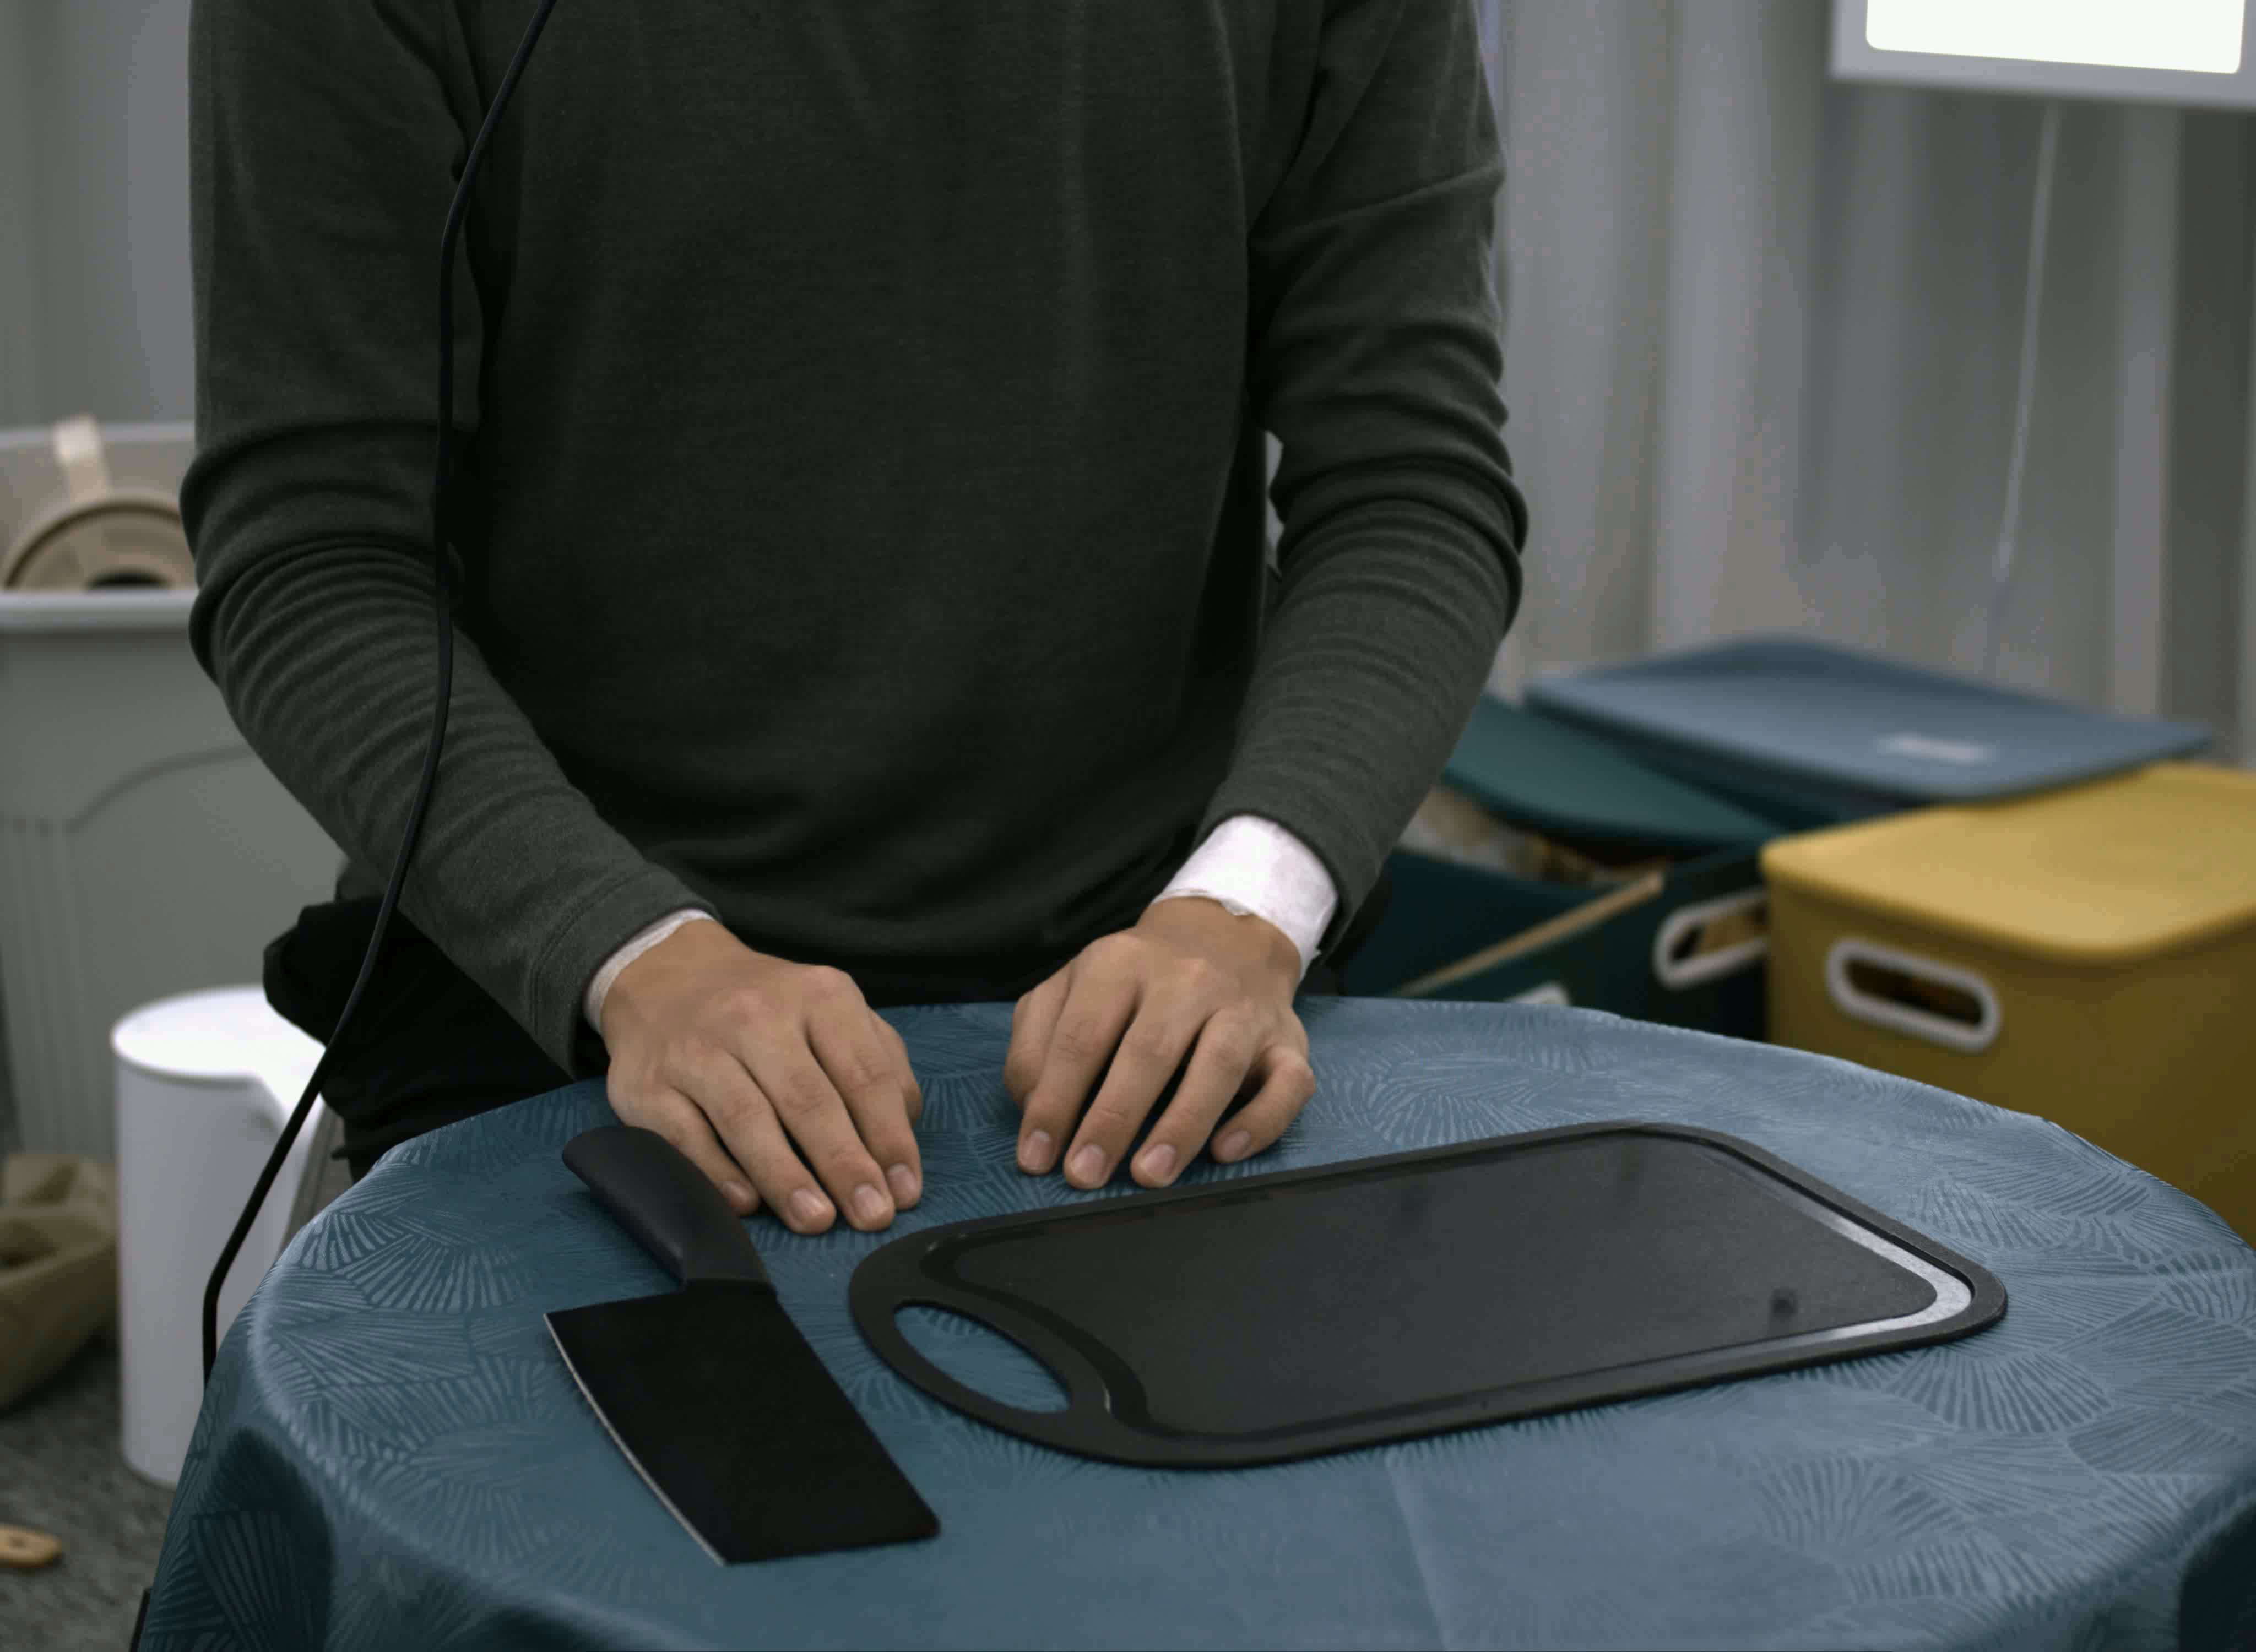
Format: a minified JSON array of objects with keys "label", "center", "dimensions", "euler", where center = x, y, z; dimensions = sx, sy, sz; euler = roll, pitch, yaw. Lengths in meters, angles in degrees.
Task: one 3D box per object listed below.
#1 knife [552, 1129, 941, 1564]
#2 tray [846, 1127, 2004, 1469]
[{"label":"knife","center":[-0.122,0.144,1.483],"dimensions":[0.081,0.021,0.299],"euler":[-5,18,-14]},{"label":"tray","center":[0.081,0.134,1.540],"dimensions":[0.326,0.010,0.208],"euler":[-7,16,-25]}]
